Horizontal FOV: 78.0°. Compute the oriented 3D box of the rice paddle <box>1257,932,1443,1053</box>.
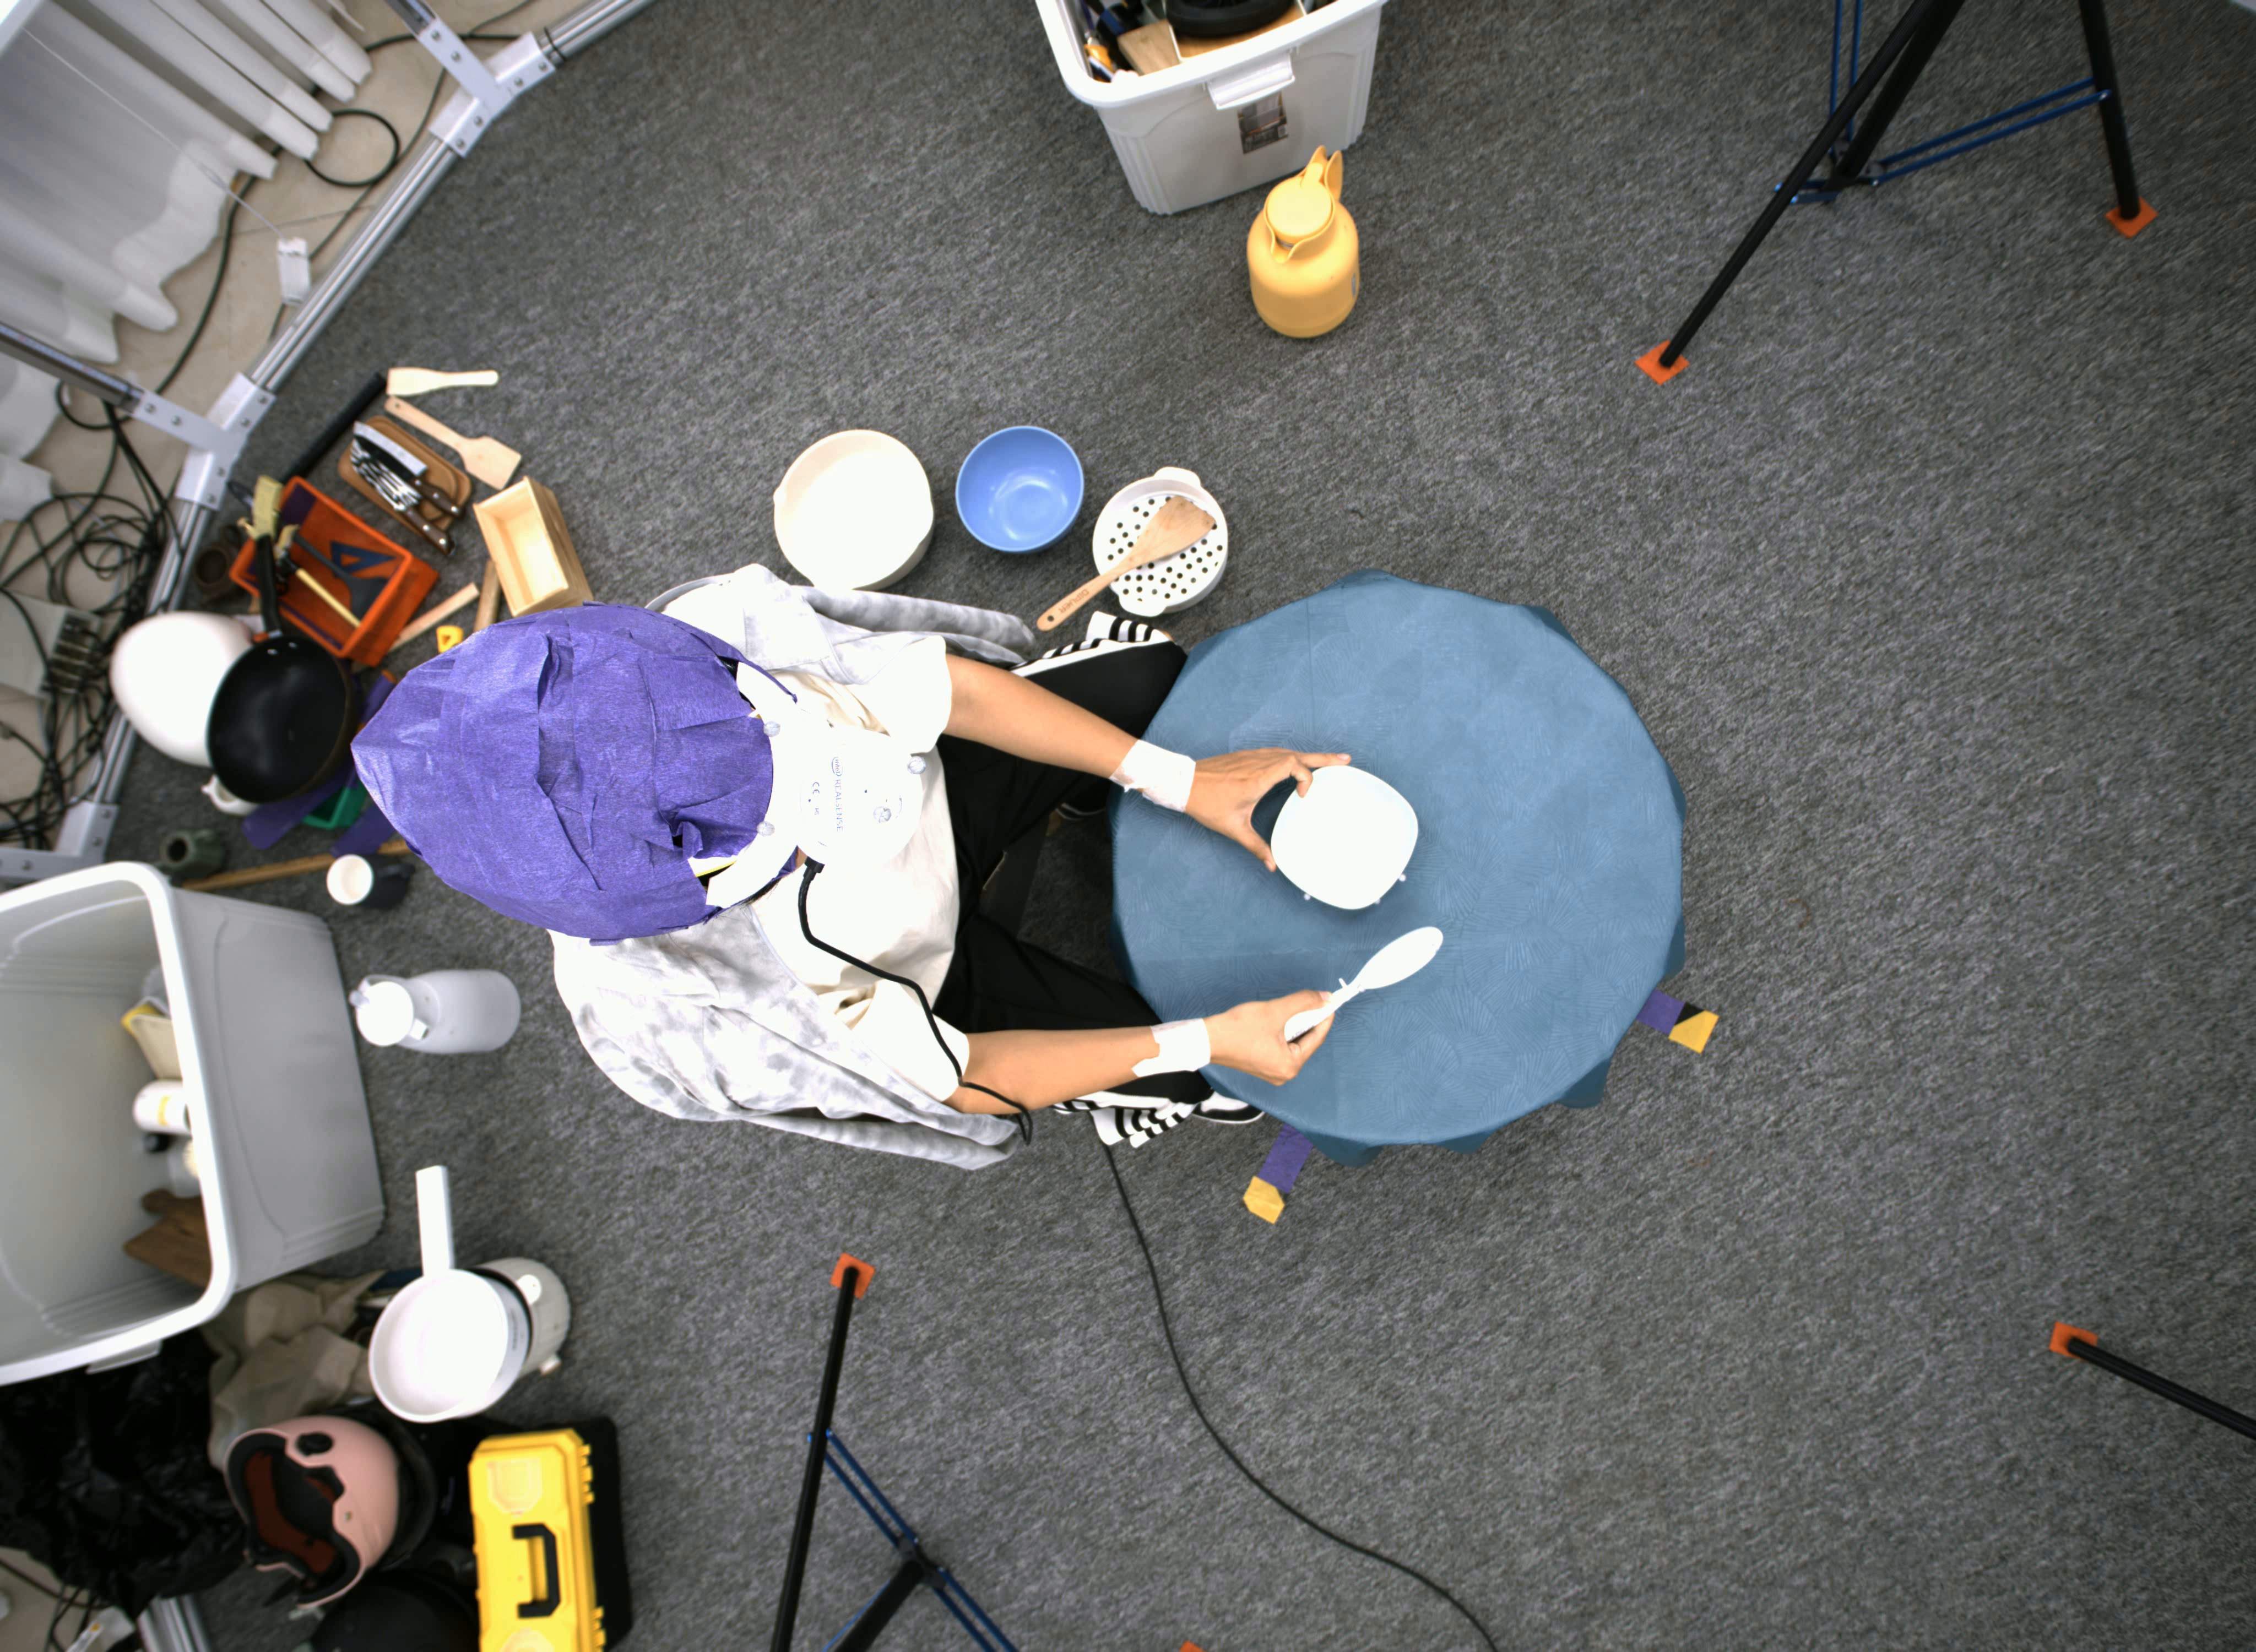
[{"bbox_3d":[0.223,0.160,1.366,0.206,0.070,0.029,-30,57,4],"label":"rice paddle"}]

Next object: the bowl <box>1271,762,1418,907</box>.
[{"bbox_3d":[0.226,0.010,1.442,0.152,0.058,0.151,-1,88,10],"label":"bowl"}]
